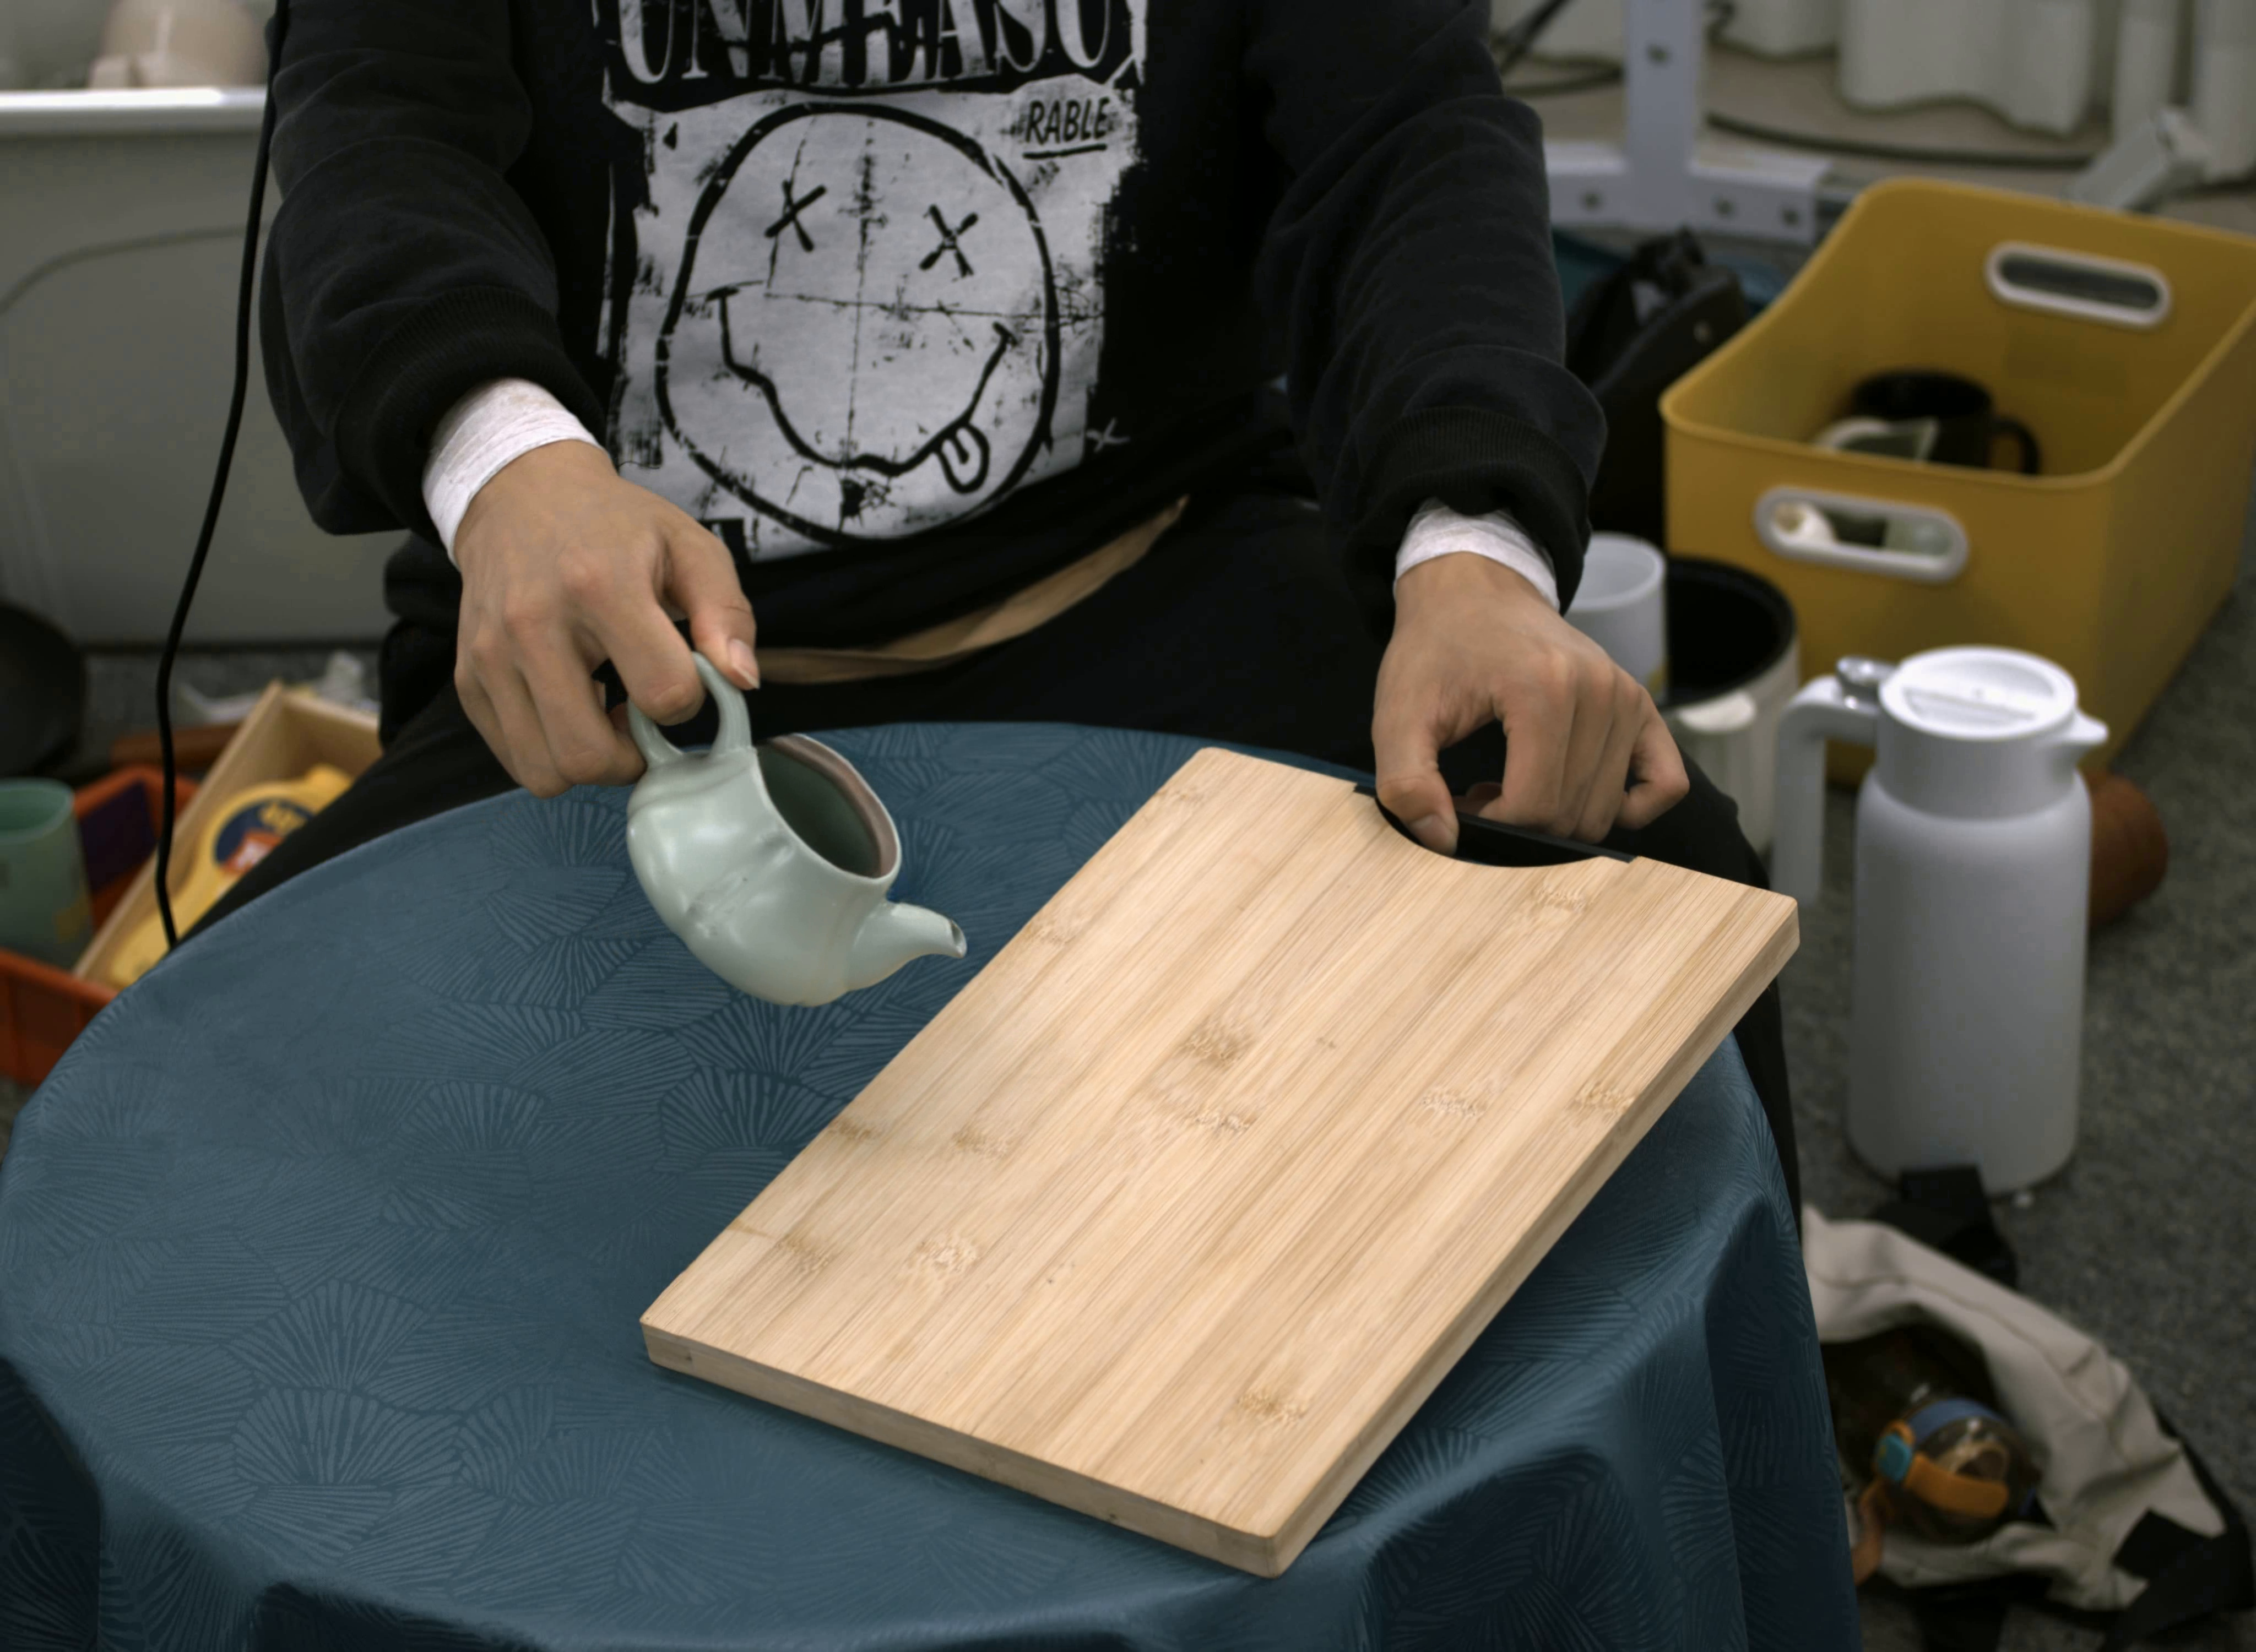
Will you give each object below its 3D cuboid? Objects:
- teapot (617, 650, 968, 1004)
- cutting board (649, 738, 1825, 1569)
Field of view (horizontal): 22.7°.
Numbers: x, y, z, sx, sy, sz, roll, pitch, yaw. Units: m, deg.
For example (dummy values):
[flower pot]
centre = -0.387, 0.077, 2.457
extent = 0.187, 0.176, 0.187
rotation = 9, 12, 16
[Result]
[teapot]
centre = -0.117, 0.005, 1.799
extent = 0.060, 0.137, 0.097
rotation = -42, 4, 26
[cutting board]
centre = 0.039, 0.095, 1.831
extent = 0.249, 0.023, 0.355
rotation = 14, 40, 29
